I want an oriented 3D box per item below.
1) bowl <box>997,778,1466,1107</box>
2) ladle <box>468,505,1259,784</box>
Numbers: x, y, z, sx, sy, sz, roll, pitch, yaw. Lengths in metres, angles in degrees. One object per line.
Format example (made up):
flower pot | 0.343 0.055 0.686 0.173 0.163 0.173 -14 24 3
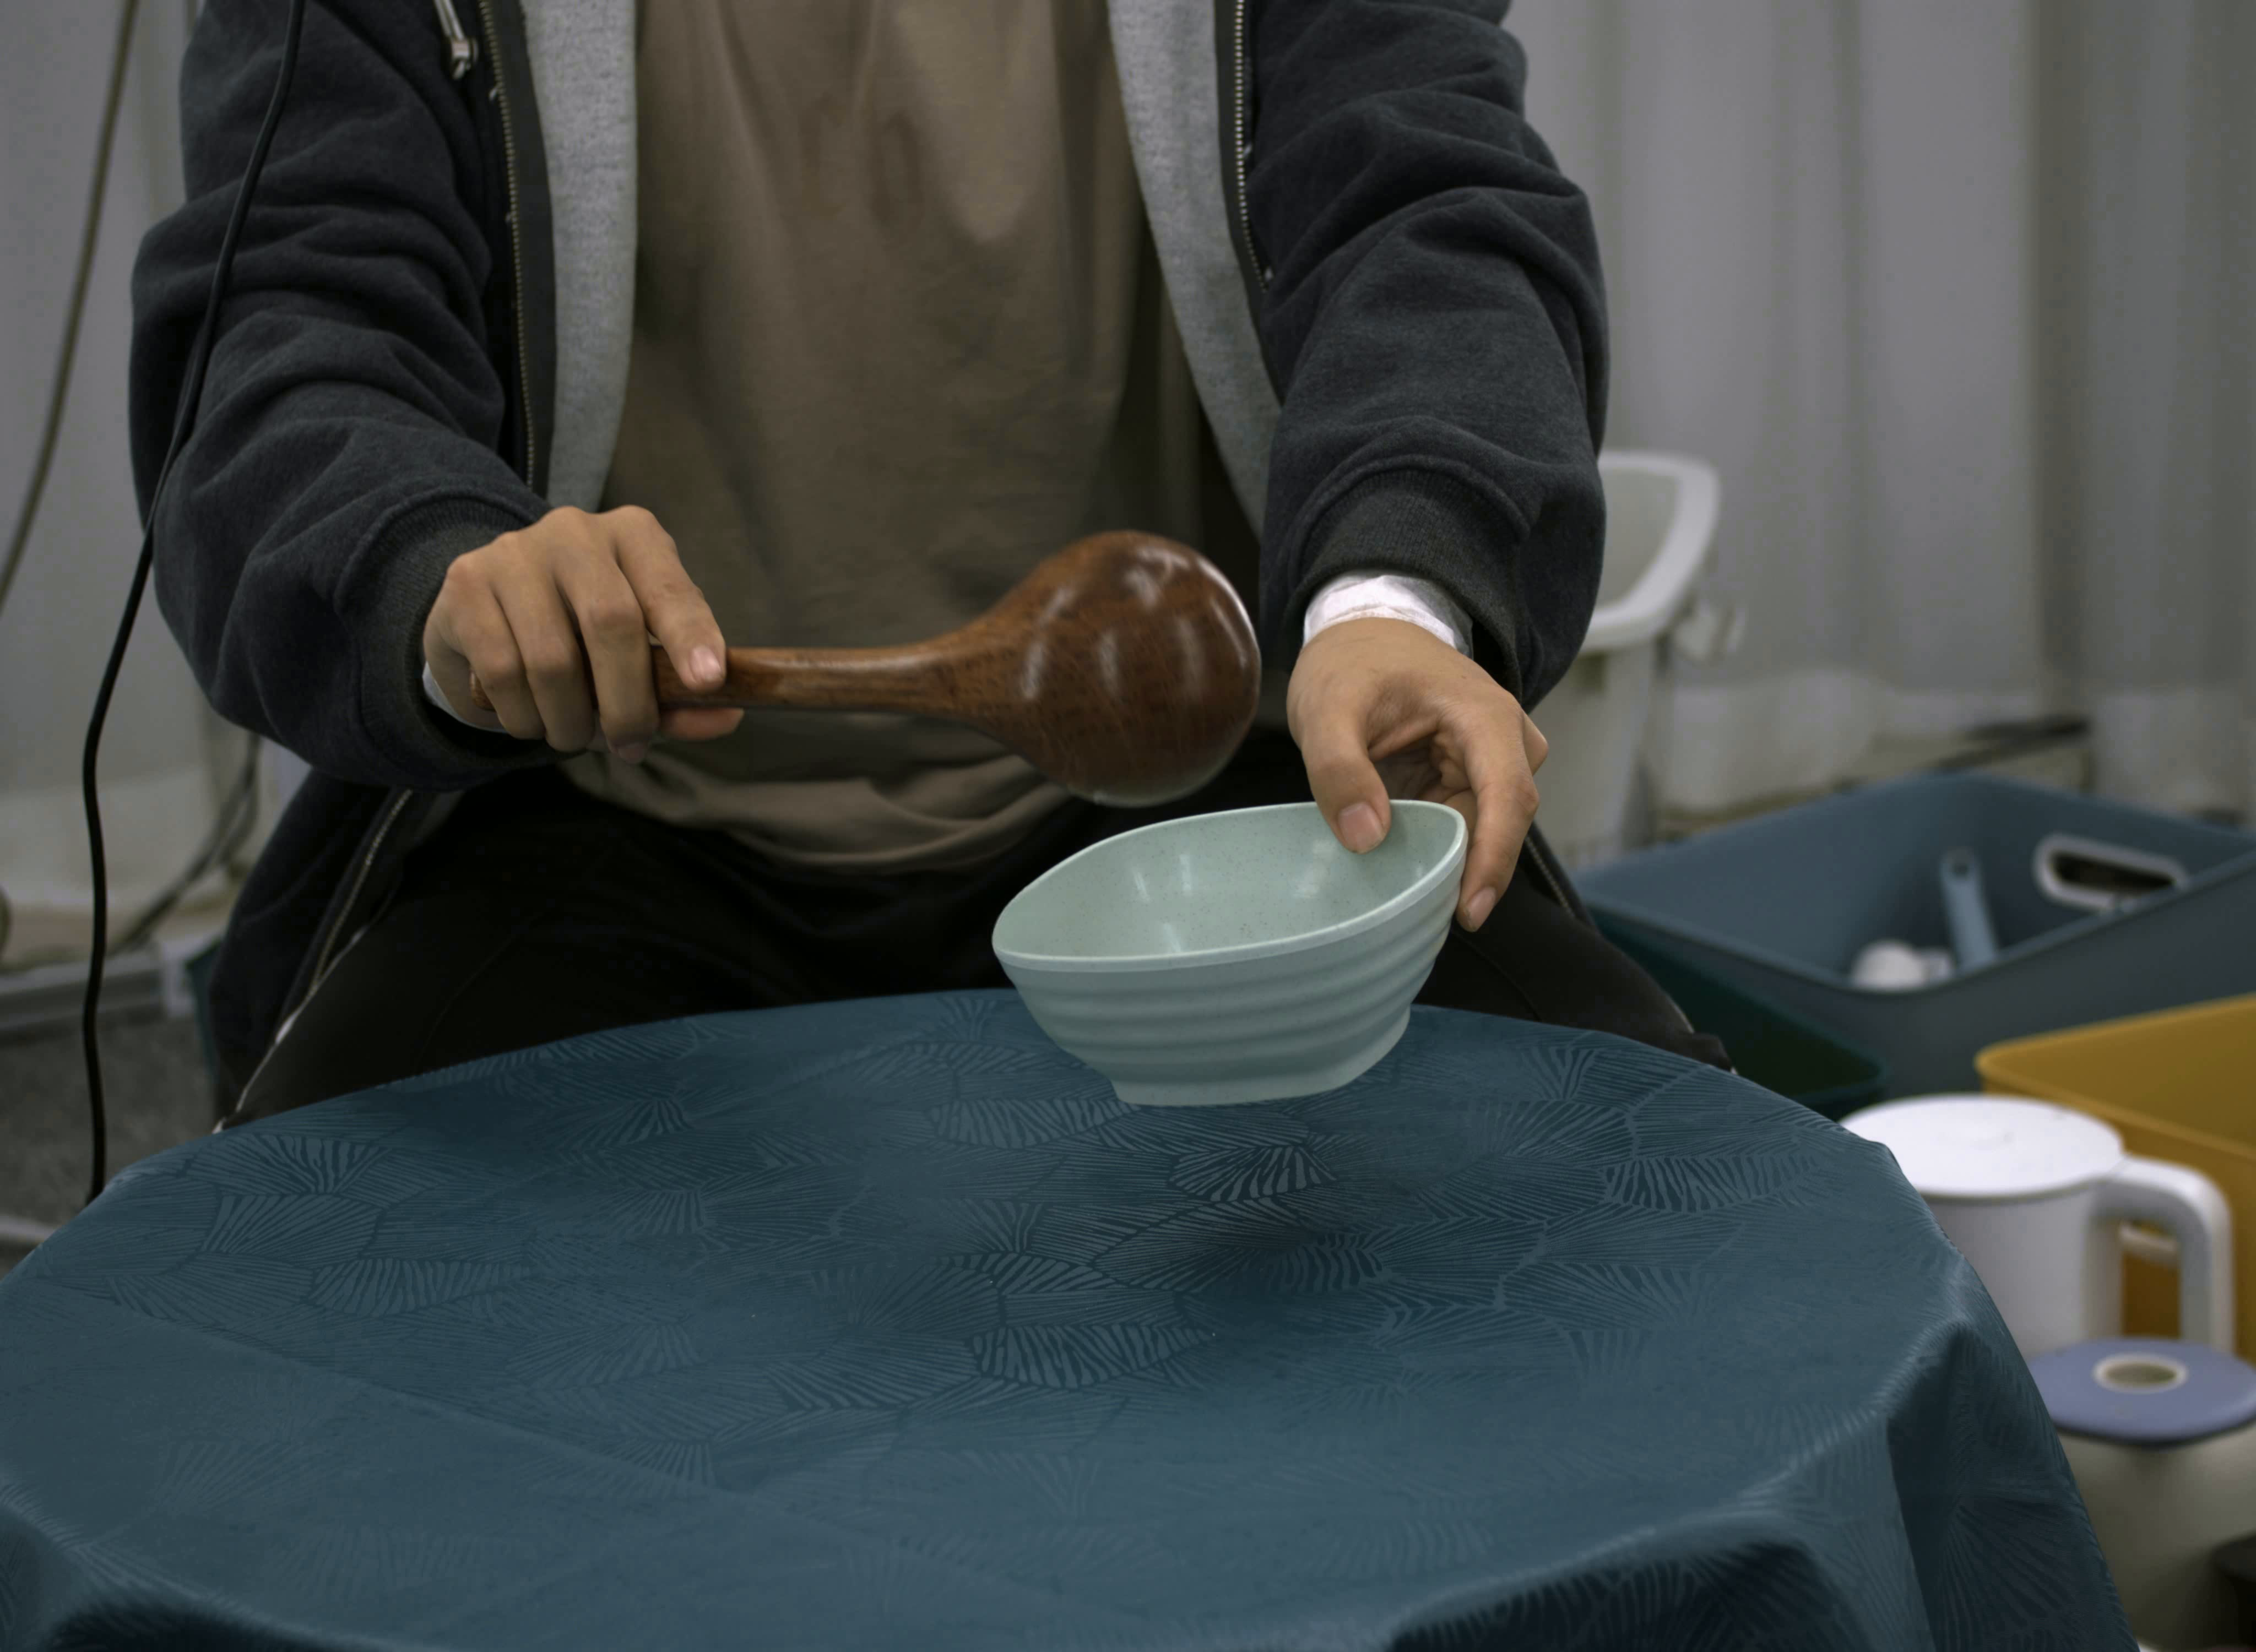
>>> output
bowl | 0.037 0.040 1.644 0.151 0.058 0.153 -12 20 4
ladle | -0.082 -0.052 1.675 0.274 0.082 0.076 -1 4 41
